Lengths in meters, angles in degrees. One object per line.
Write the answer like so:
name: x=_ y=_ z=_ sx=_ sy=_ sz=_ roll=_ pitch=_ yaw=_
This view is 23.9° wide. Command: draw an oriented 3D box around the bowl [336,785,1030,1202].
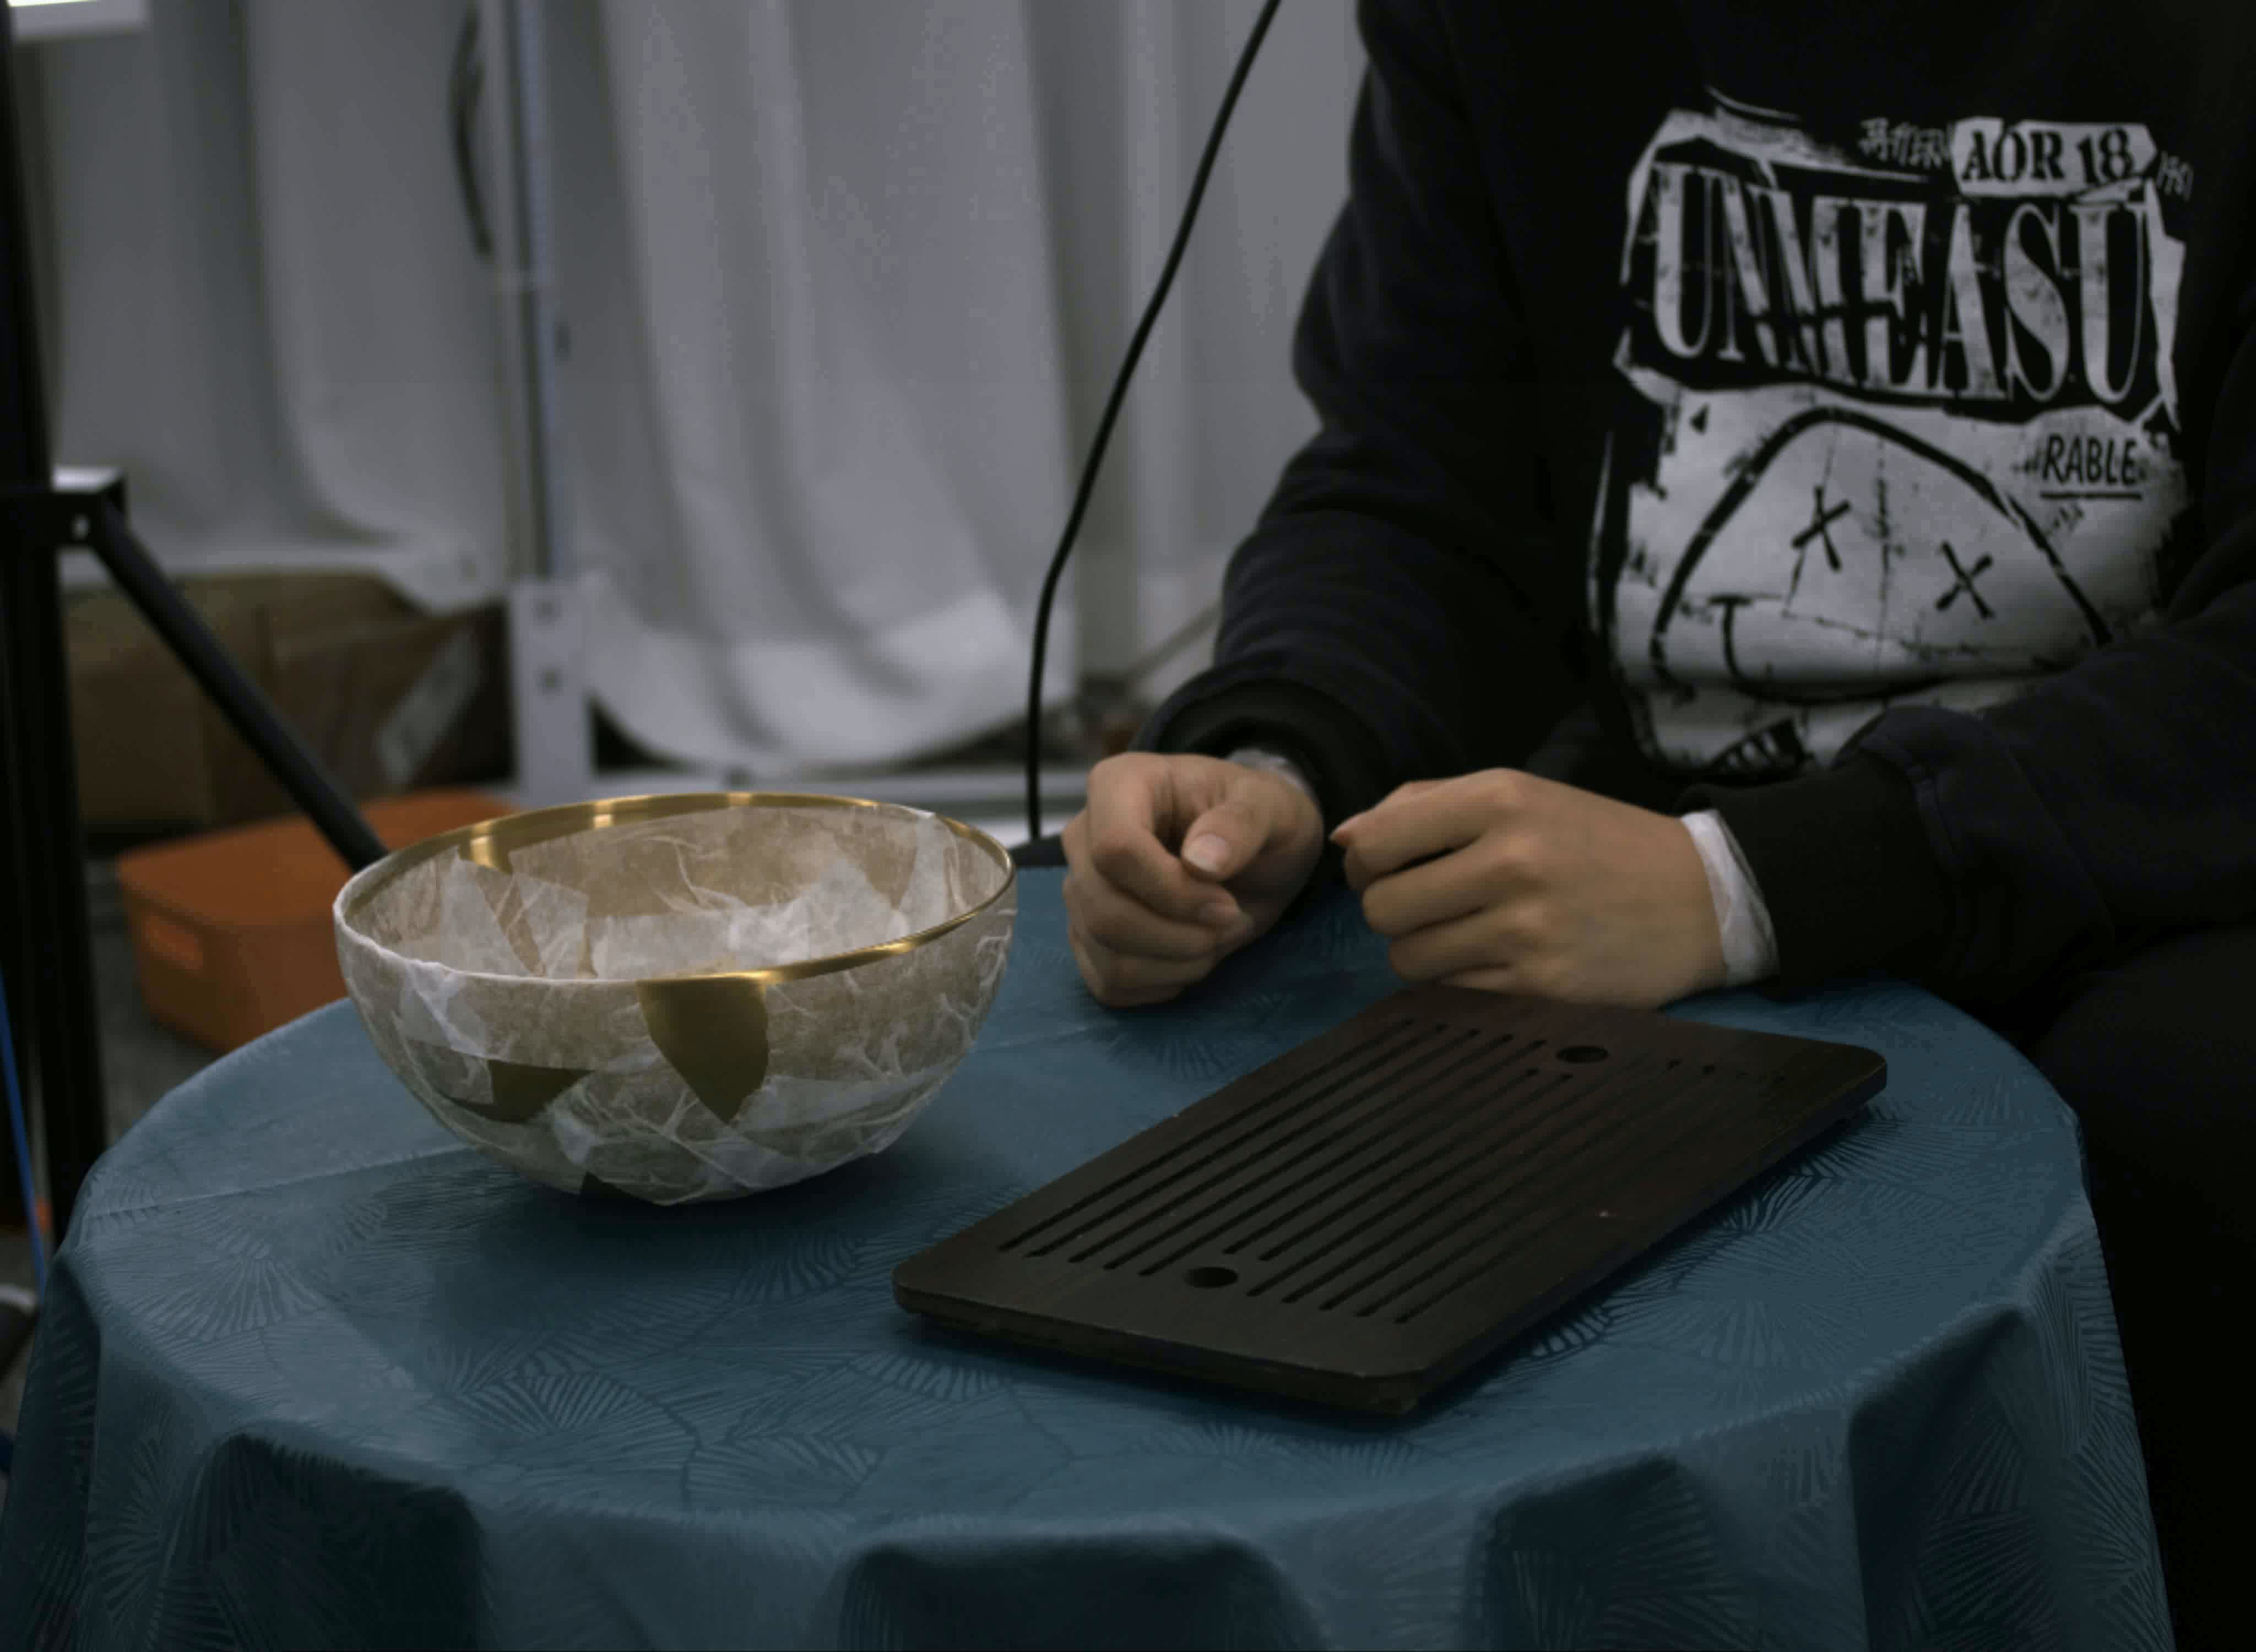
bowl: x=-0.127 y=0.058 z=1.587 sx=0.213 sy=0.094 sz=0.216 roll=-4 pitch=15 yaw=0

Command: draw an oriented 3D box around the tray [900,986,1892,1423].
tray: x=0.084 y=0.105 z=1.523 sx=0.173 sy=0.018 sz=0.300 roll=8 pitch=19 yaw=33
